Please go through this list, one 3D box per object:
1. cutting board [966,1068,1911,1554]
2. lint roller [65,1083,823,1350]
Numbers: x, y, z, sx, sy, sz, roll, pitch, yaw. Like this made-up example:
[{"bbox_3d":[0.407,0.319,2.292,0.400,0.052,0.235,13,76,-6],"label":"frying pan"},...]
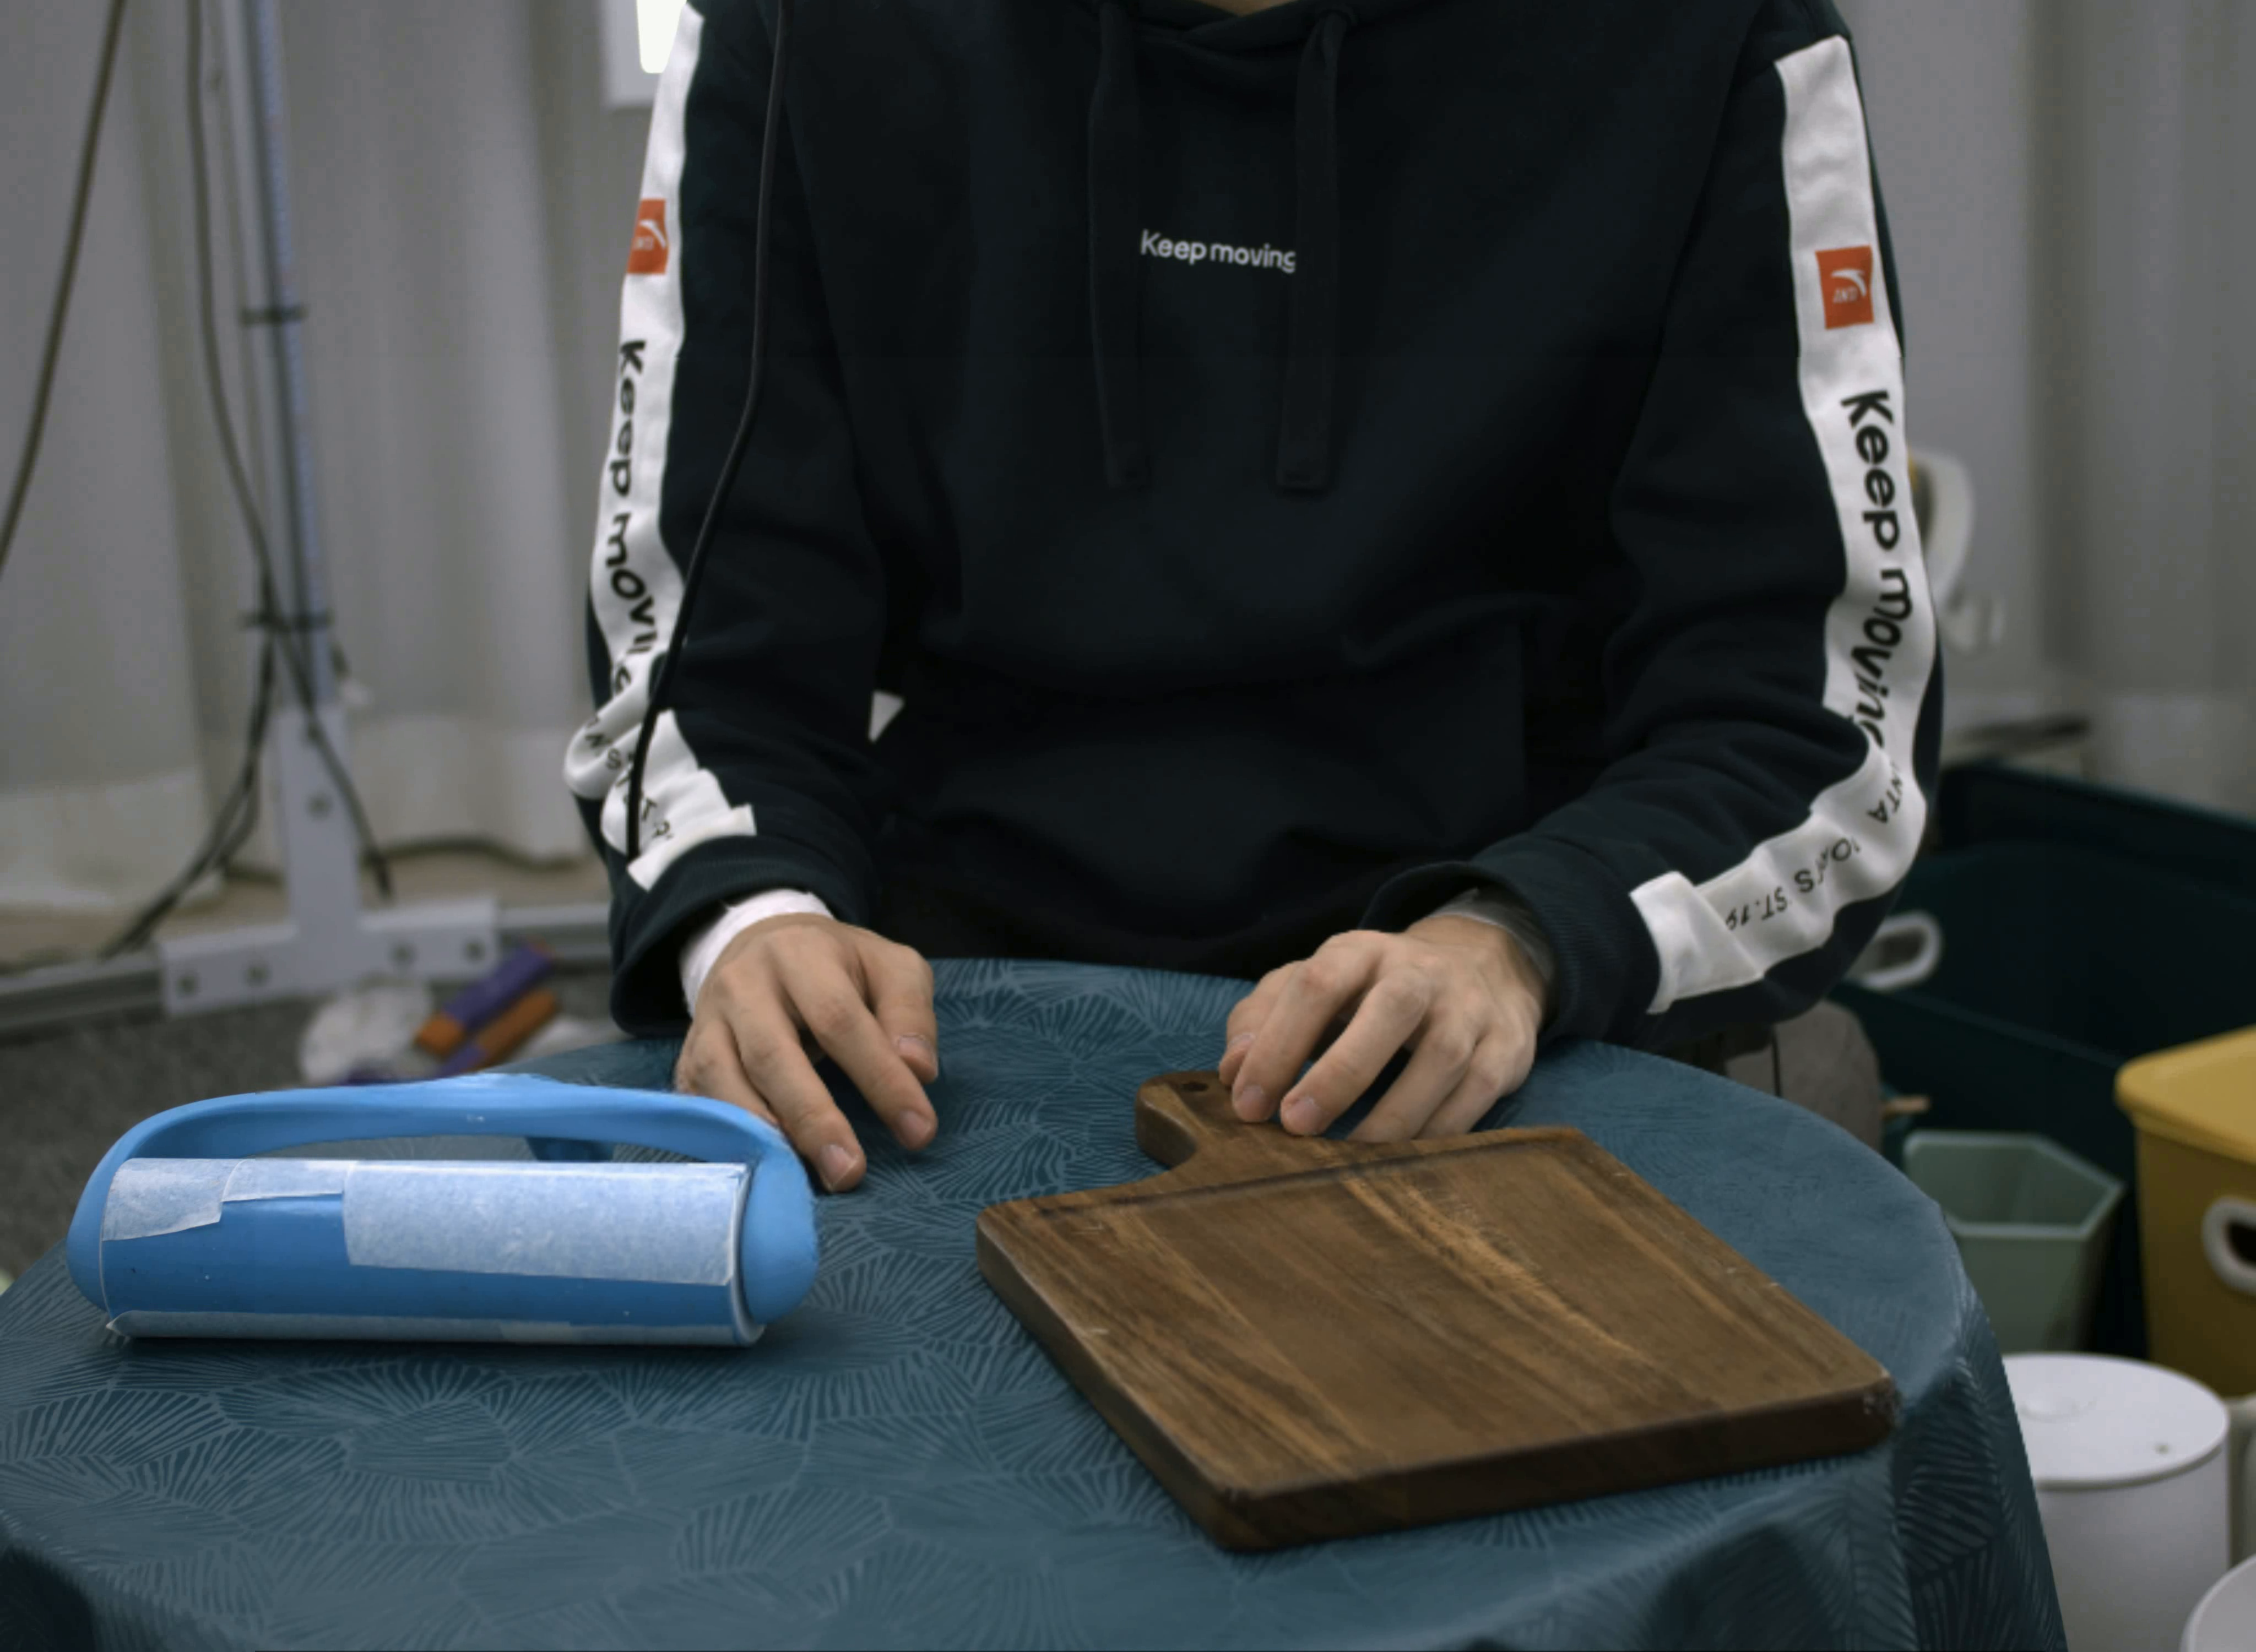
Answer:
[{"bbox_3d":[0.067,0.129,1.605,0.200,0.023,0.355,-7,16,-17],"label":"cutting board"},{"bbox_3d":[-0.195,0.109,1.666,0.228,0.067,0.181,-3,16,8],"label":"lint roller"}]
